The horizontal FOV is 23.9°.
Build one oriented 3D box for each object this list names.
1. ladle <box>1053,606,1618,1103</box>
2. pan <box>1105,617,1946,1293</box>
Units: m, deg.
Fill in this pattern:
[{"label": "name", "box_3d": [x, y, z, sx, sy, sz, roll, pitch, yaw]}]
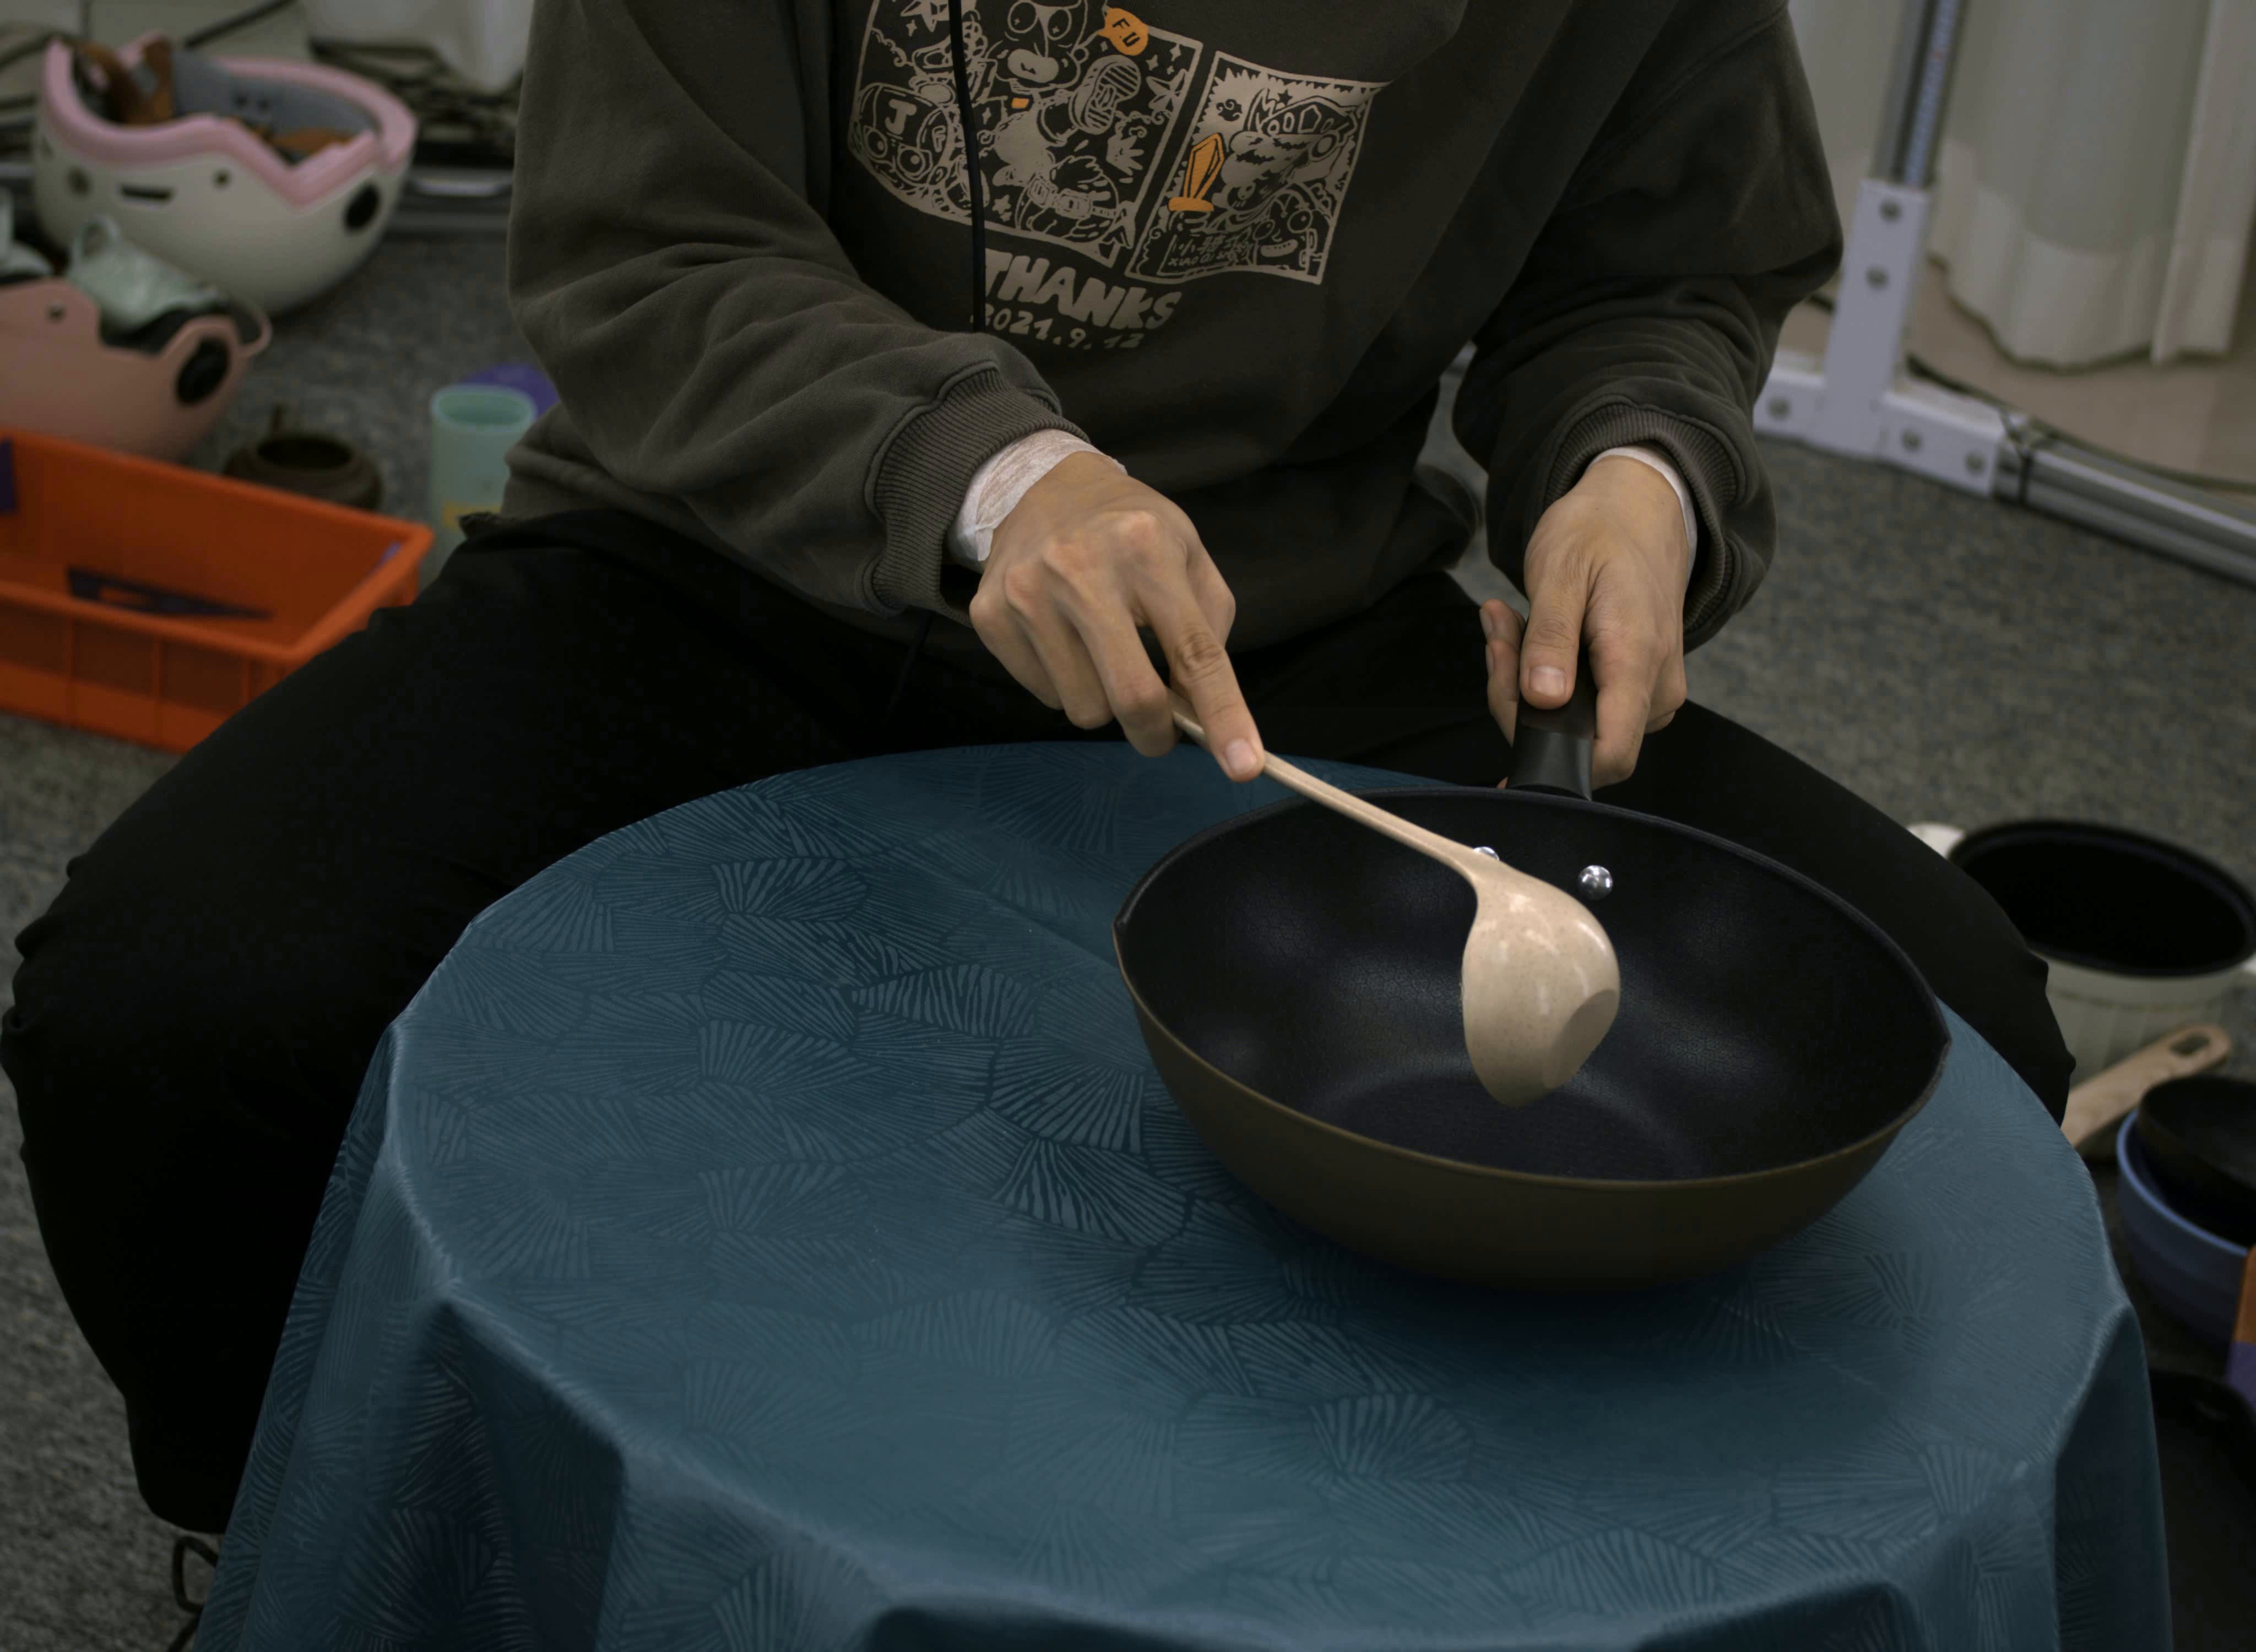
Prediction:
[{"label": "ladle", "box_3d": [0.059, 0.010, 1.835, 0.256, 0.072, 0.072, 31, 27, 32]}, {"label": "pan", "box_3d": [0.141, 0.046, 1.900, 0.287, 0.086, 0.465, 8, 25, 4]}]
